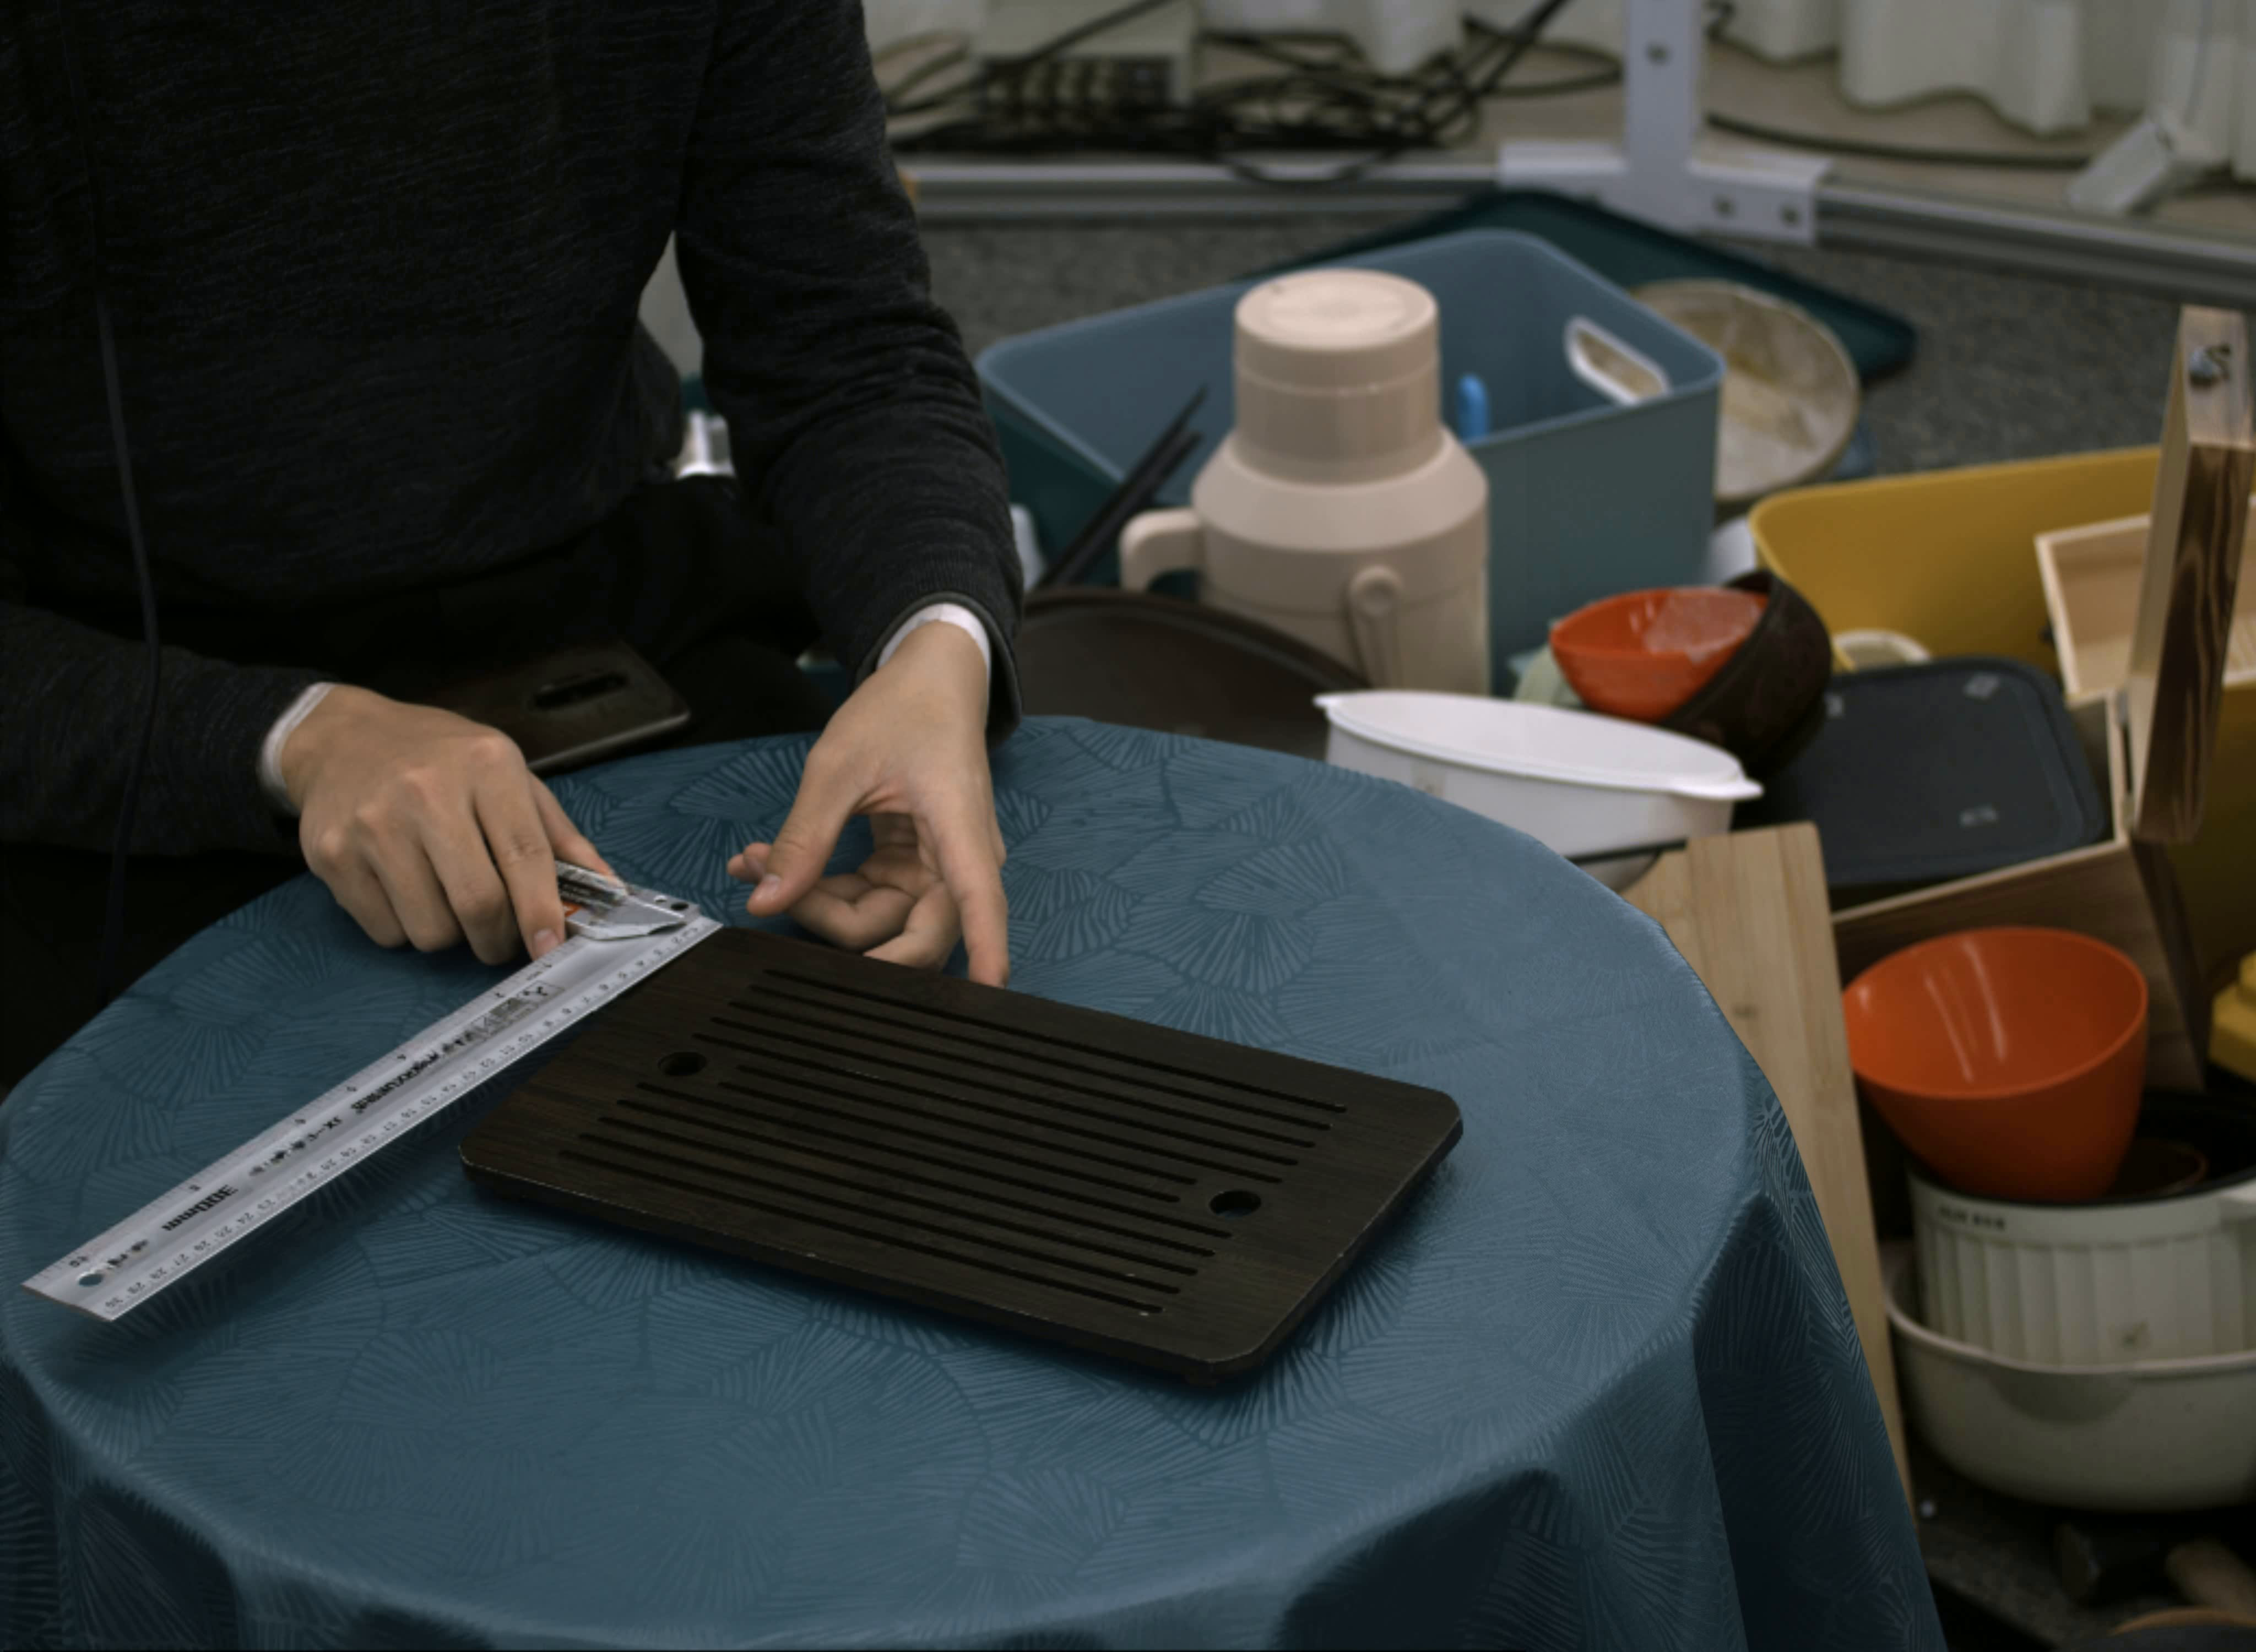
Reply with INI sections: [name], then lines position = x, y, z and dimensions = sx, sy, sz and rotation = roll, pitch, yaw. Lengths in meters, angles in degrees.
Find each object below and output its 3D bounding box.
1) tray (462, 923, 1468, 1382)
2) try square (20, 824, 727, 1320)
[tray]
position = -0.055, 0.106, 1.872
dimensions = 0.304, 0.018, 0.173
rotation = 12, 33, 27
[try square]
position = -0.290, 0.080, 1.923
dimensions = 0.151, 0.016, 0.317
rotation = 14, 31, 33
